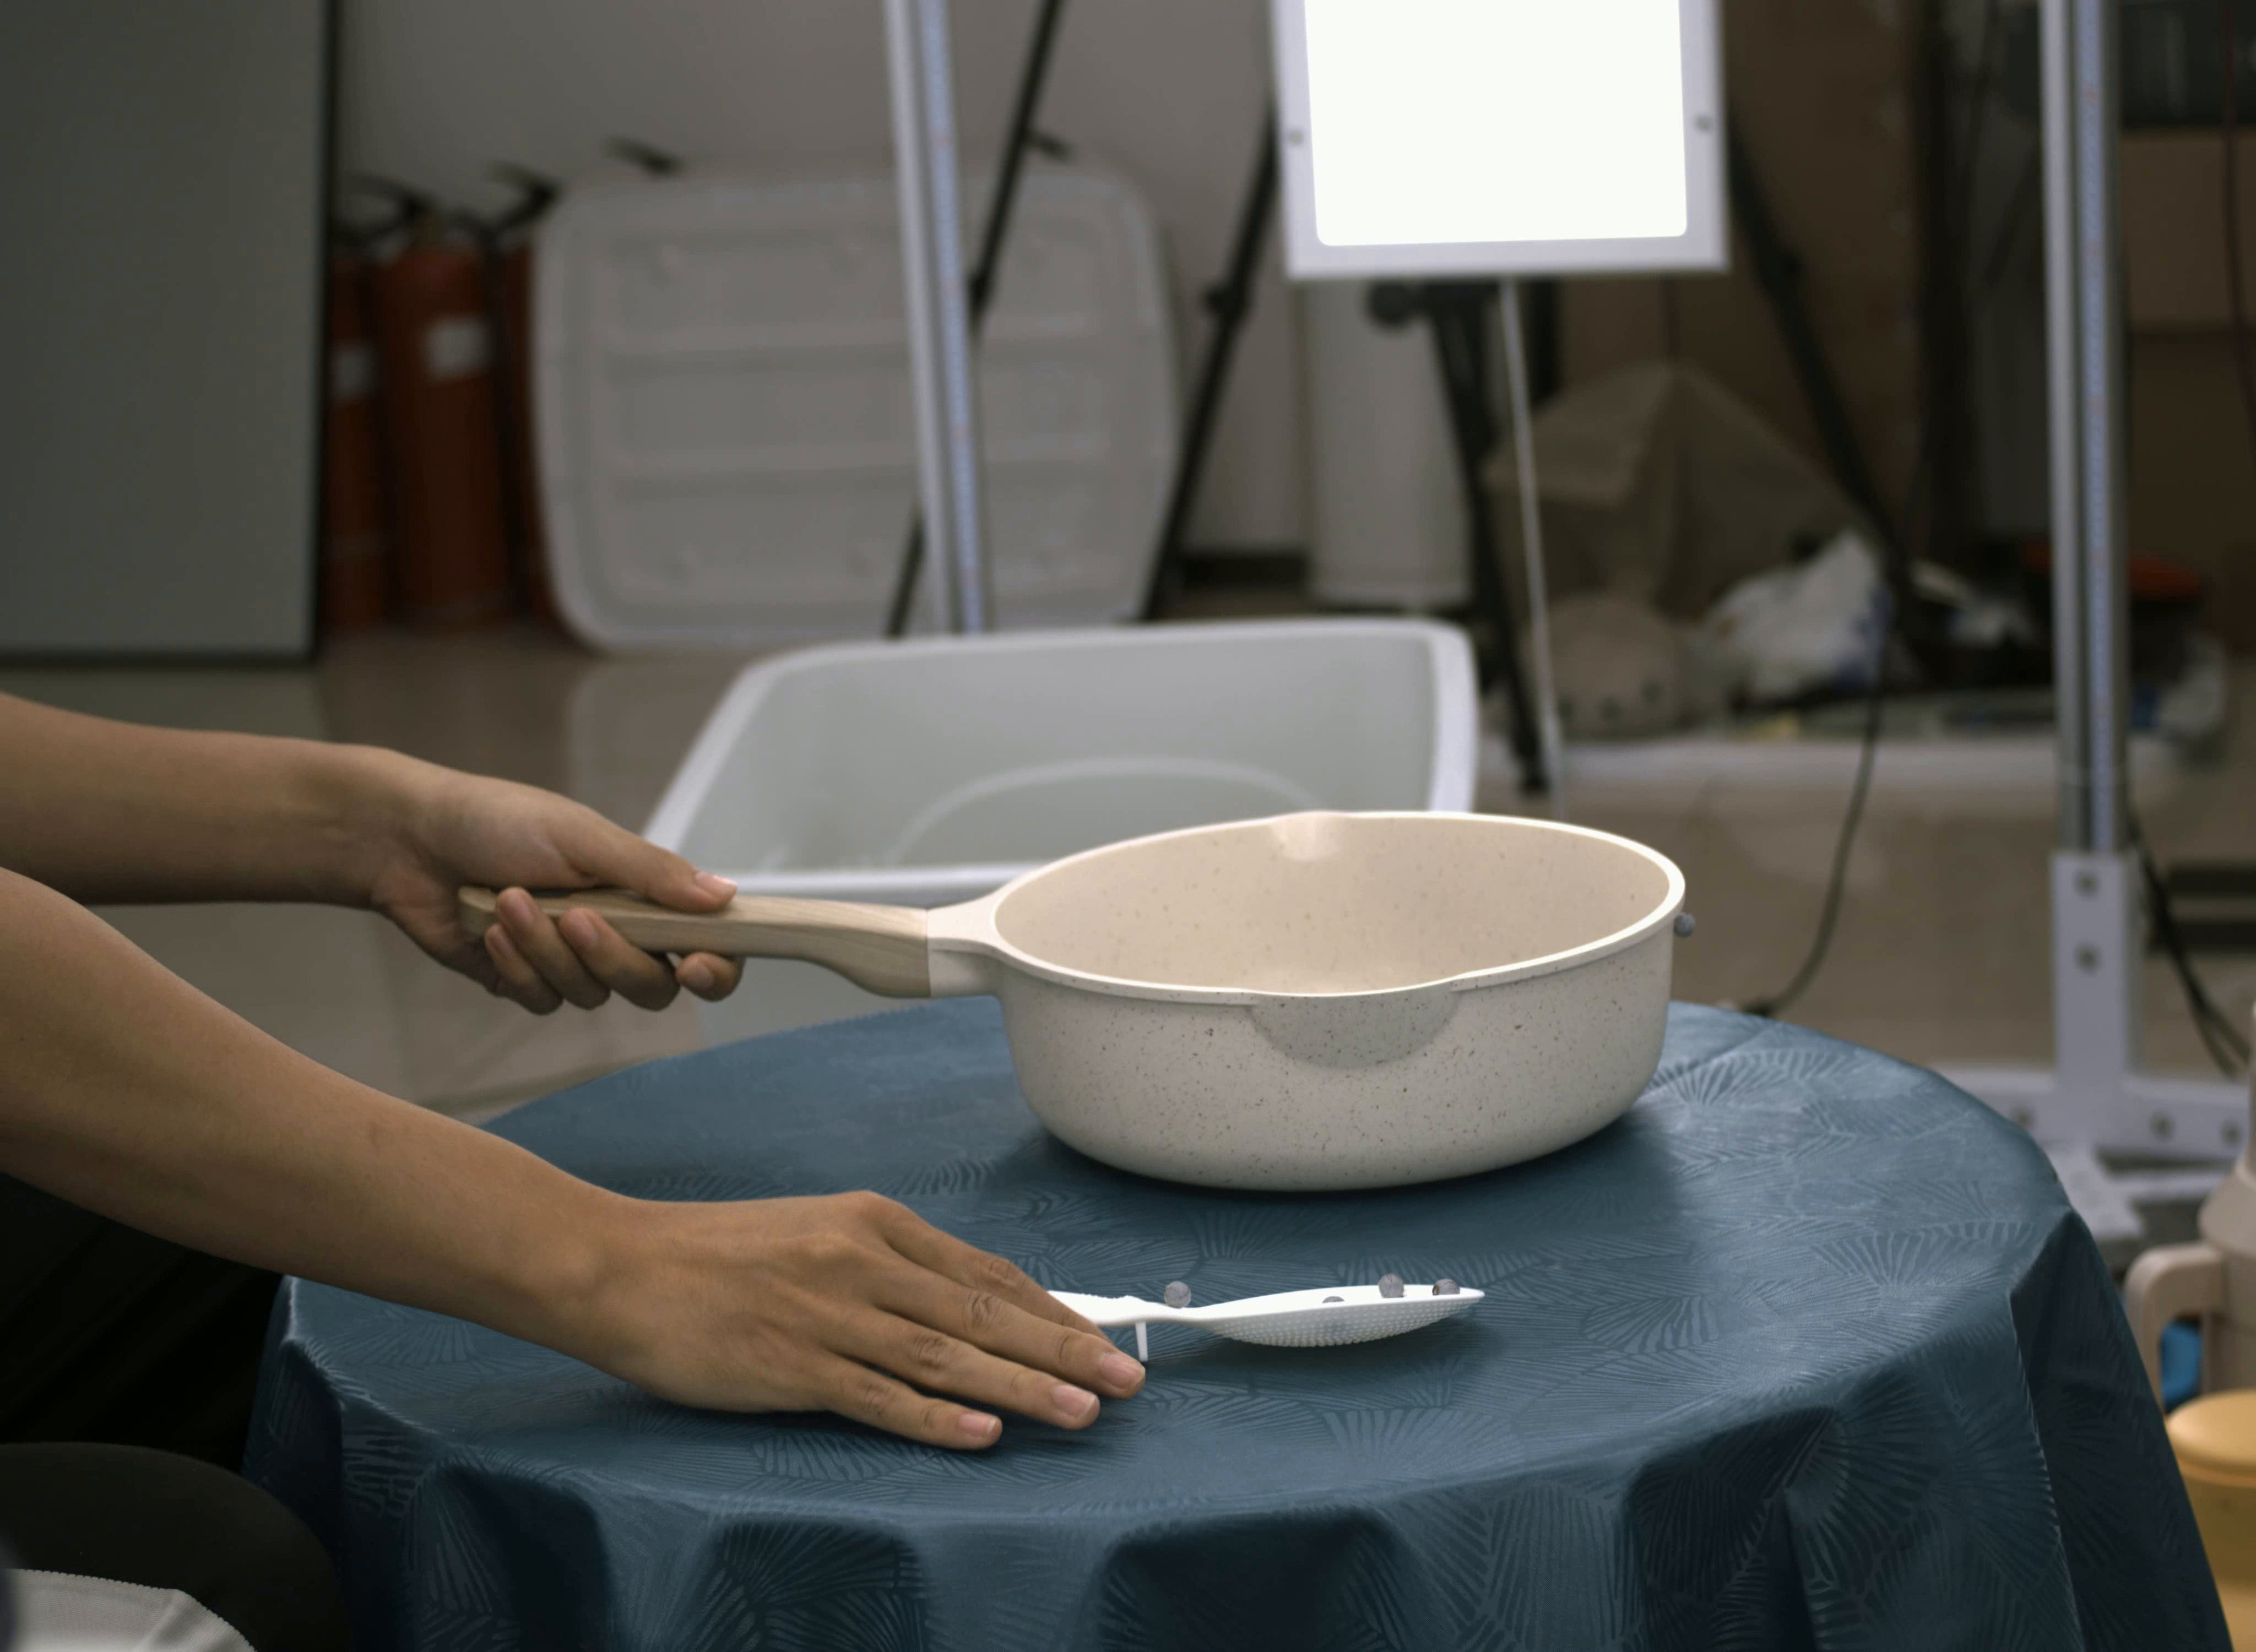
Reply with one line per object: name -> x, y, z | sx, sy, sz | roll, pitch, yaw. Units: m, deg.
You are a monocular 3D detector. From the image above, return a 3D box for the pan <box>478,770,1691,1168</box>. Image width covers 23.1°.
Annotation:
pan -> -0.012, 0.054, 1.980 | 0.434, 0.102, 0.263 | -5, 16, 1

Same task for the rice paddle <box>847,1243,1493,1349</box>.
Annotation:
rice paddle -> 0.015, 0.140, 1.733 | 0.204, 0.029, 0.069 | -5, 0, -3
